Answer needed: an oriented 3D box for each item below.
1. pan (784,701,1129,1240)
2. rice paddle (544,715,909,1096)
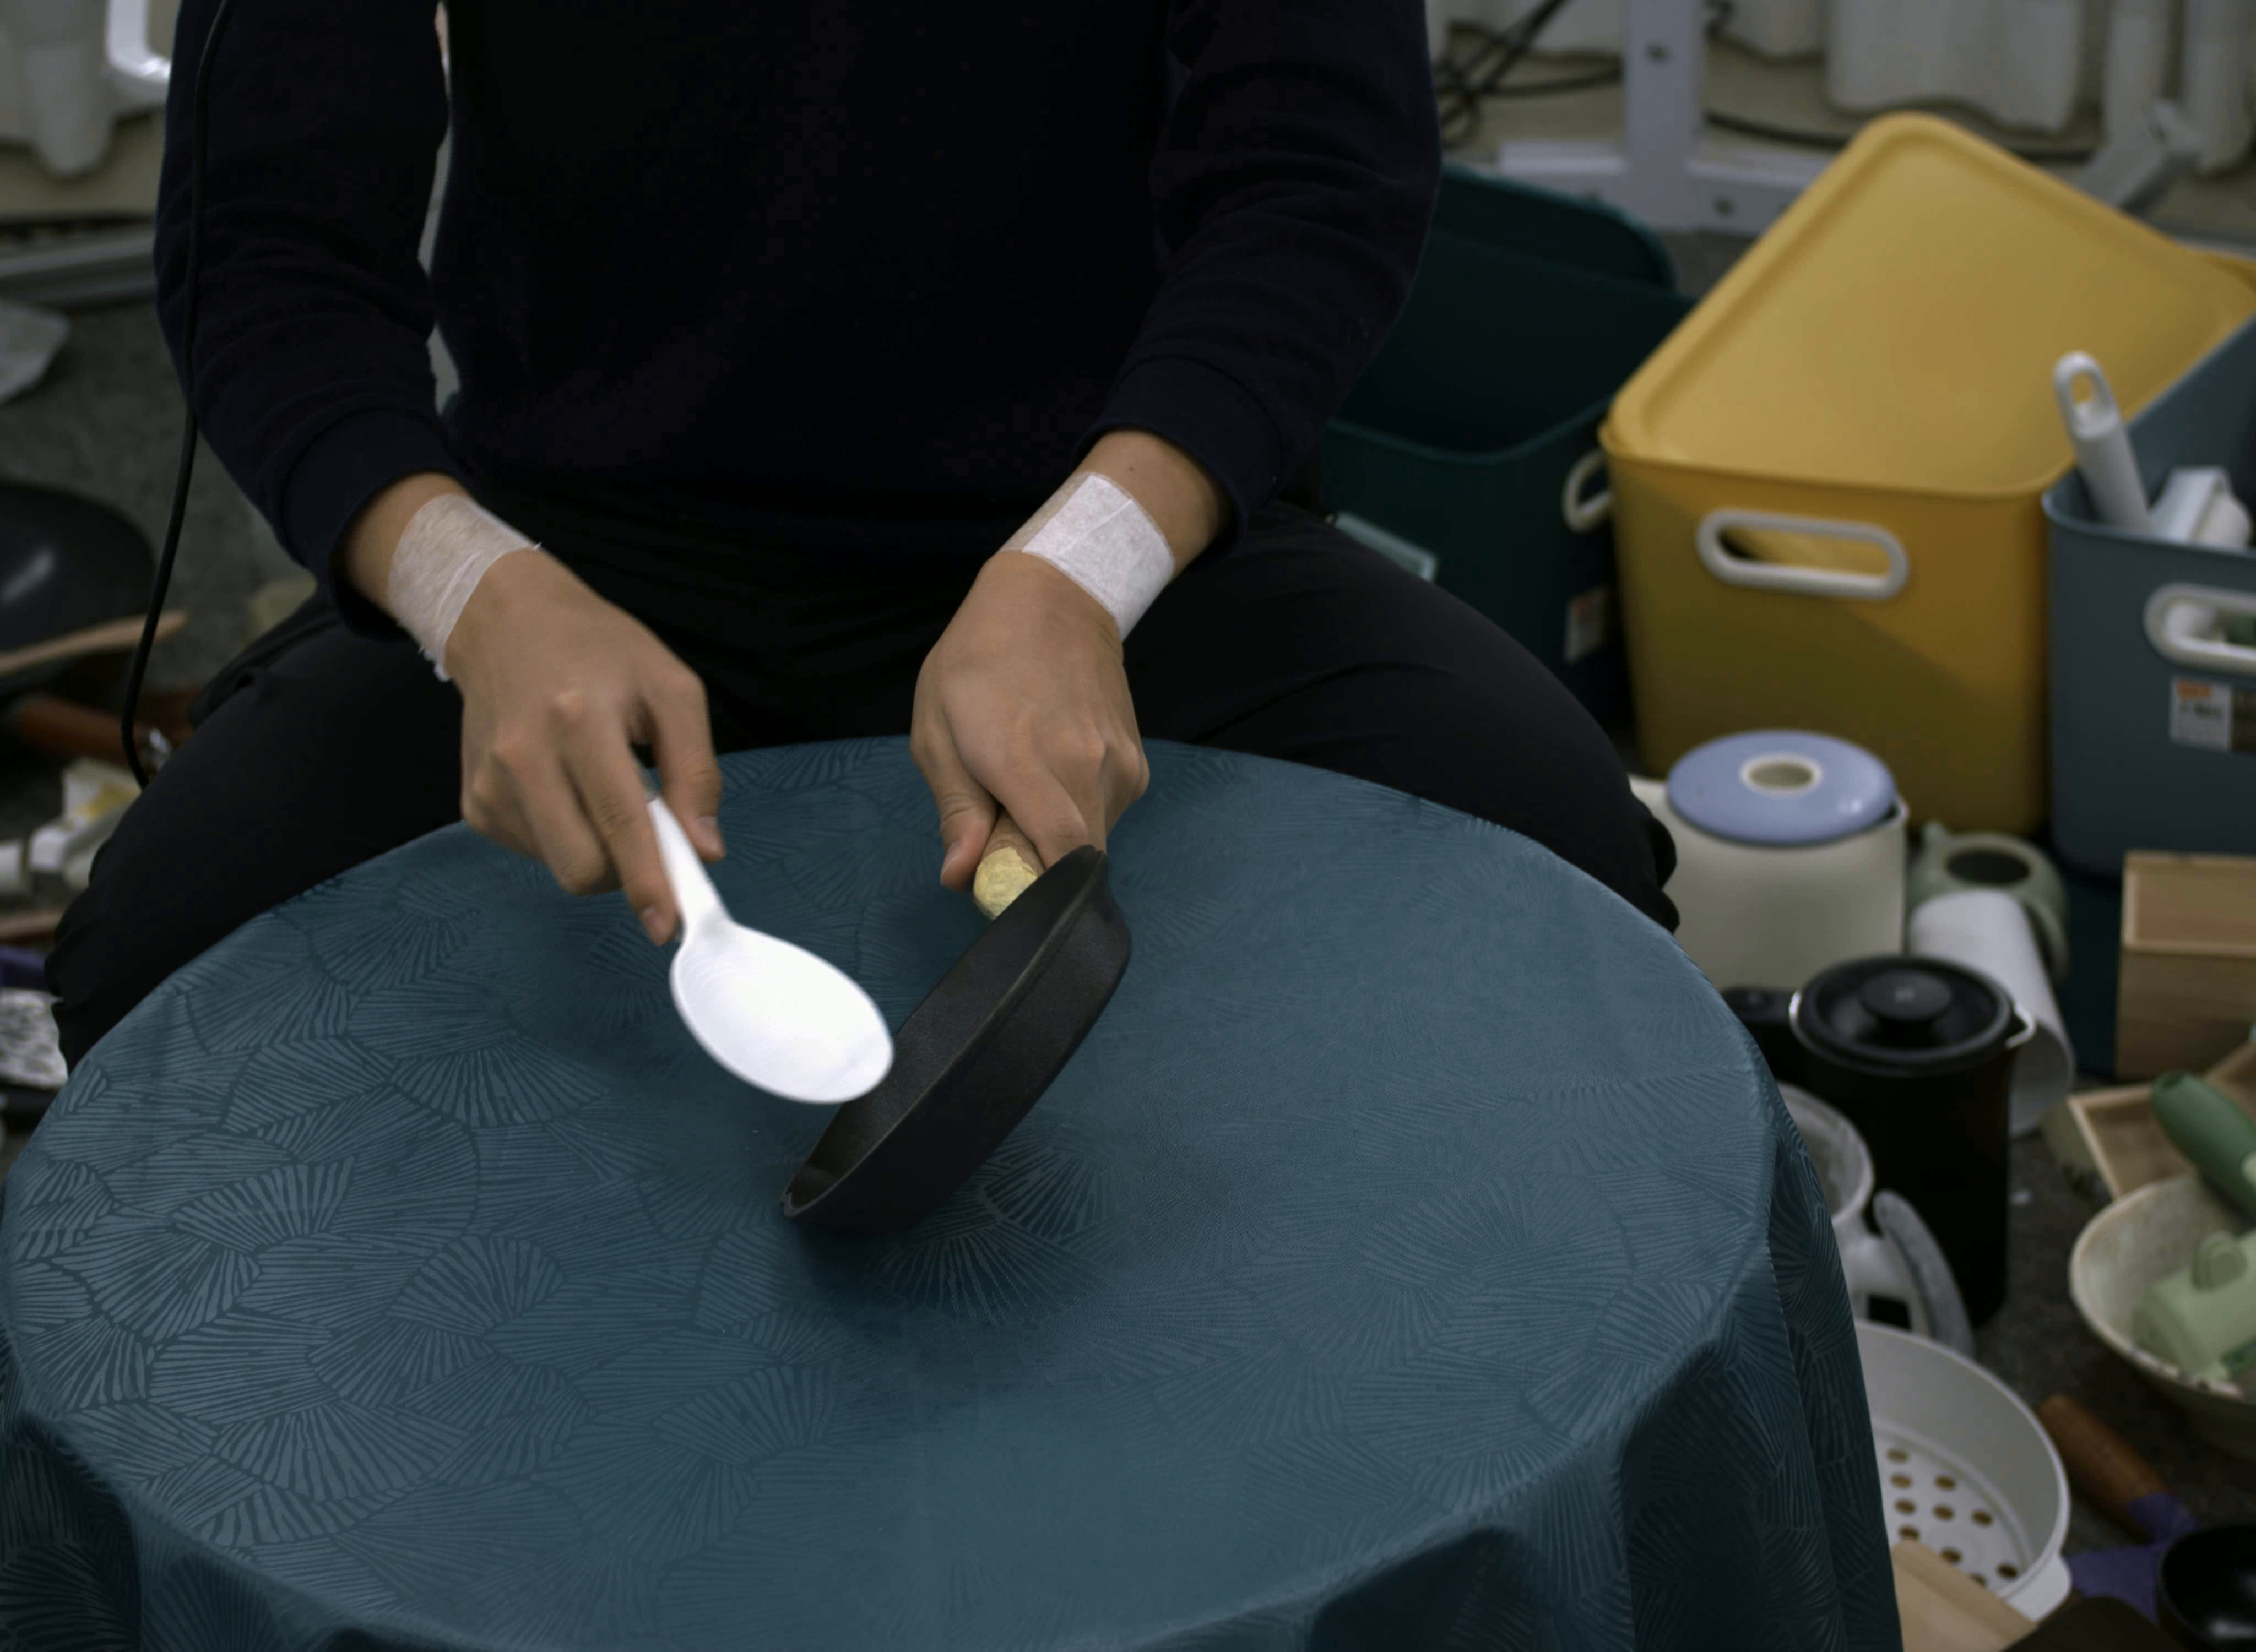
[{"bbox_3d":[-0.042,0.037,1.909,0.049,0.167,0.329,39,24,-8],"label":"pan"},{"bbox_3d":[-0.139,0.029,1.910,0.069,0.029,0.207,-8,38,-33],"label":"rice paddle"}]
